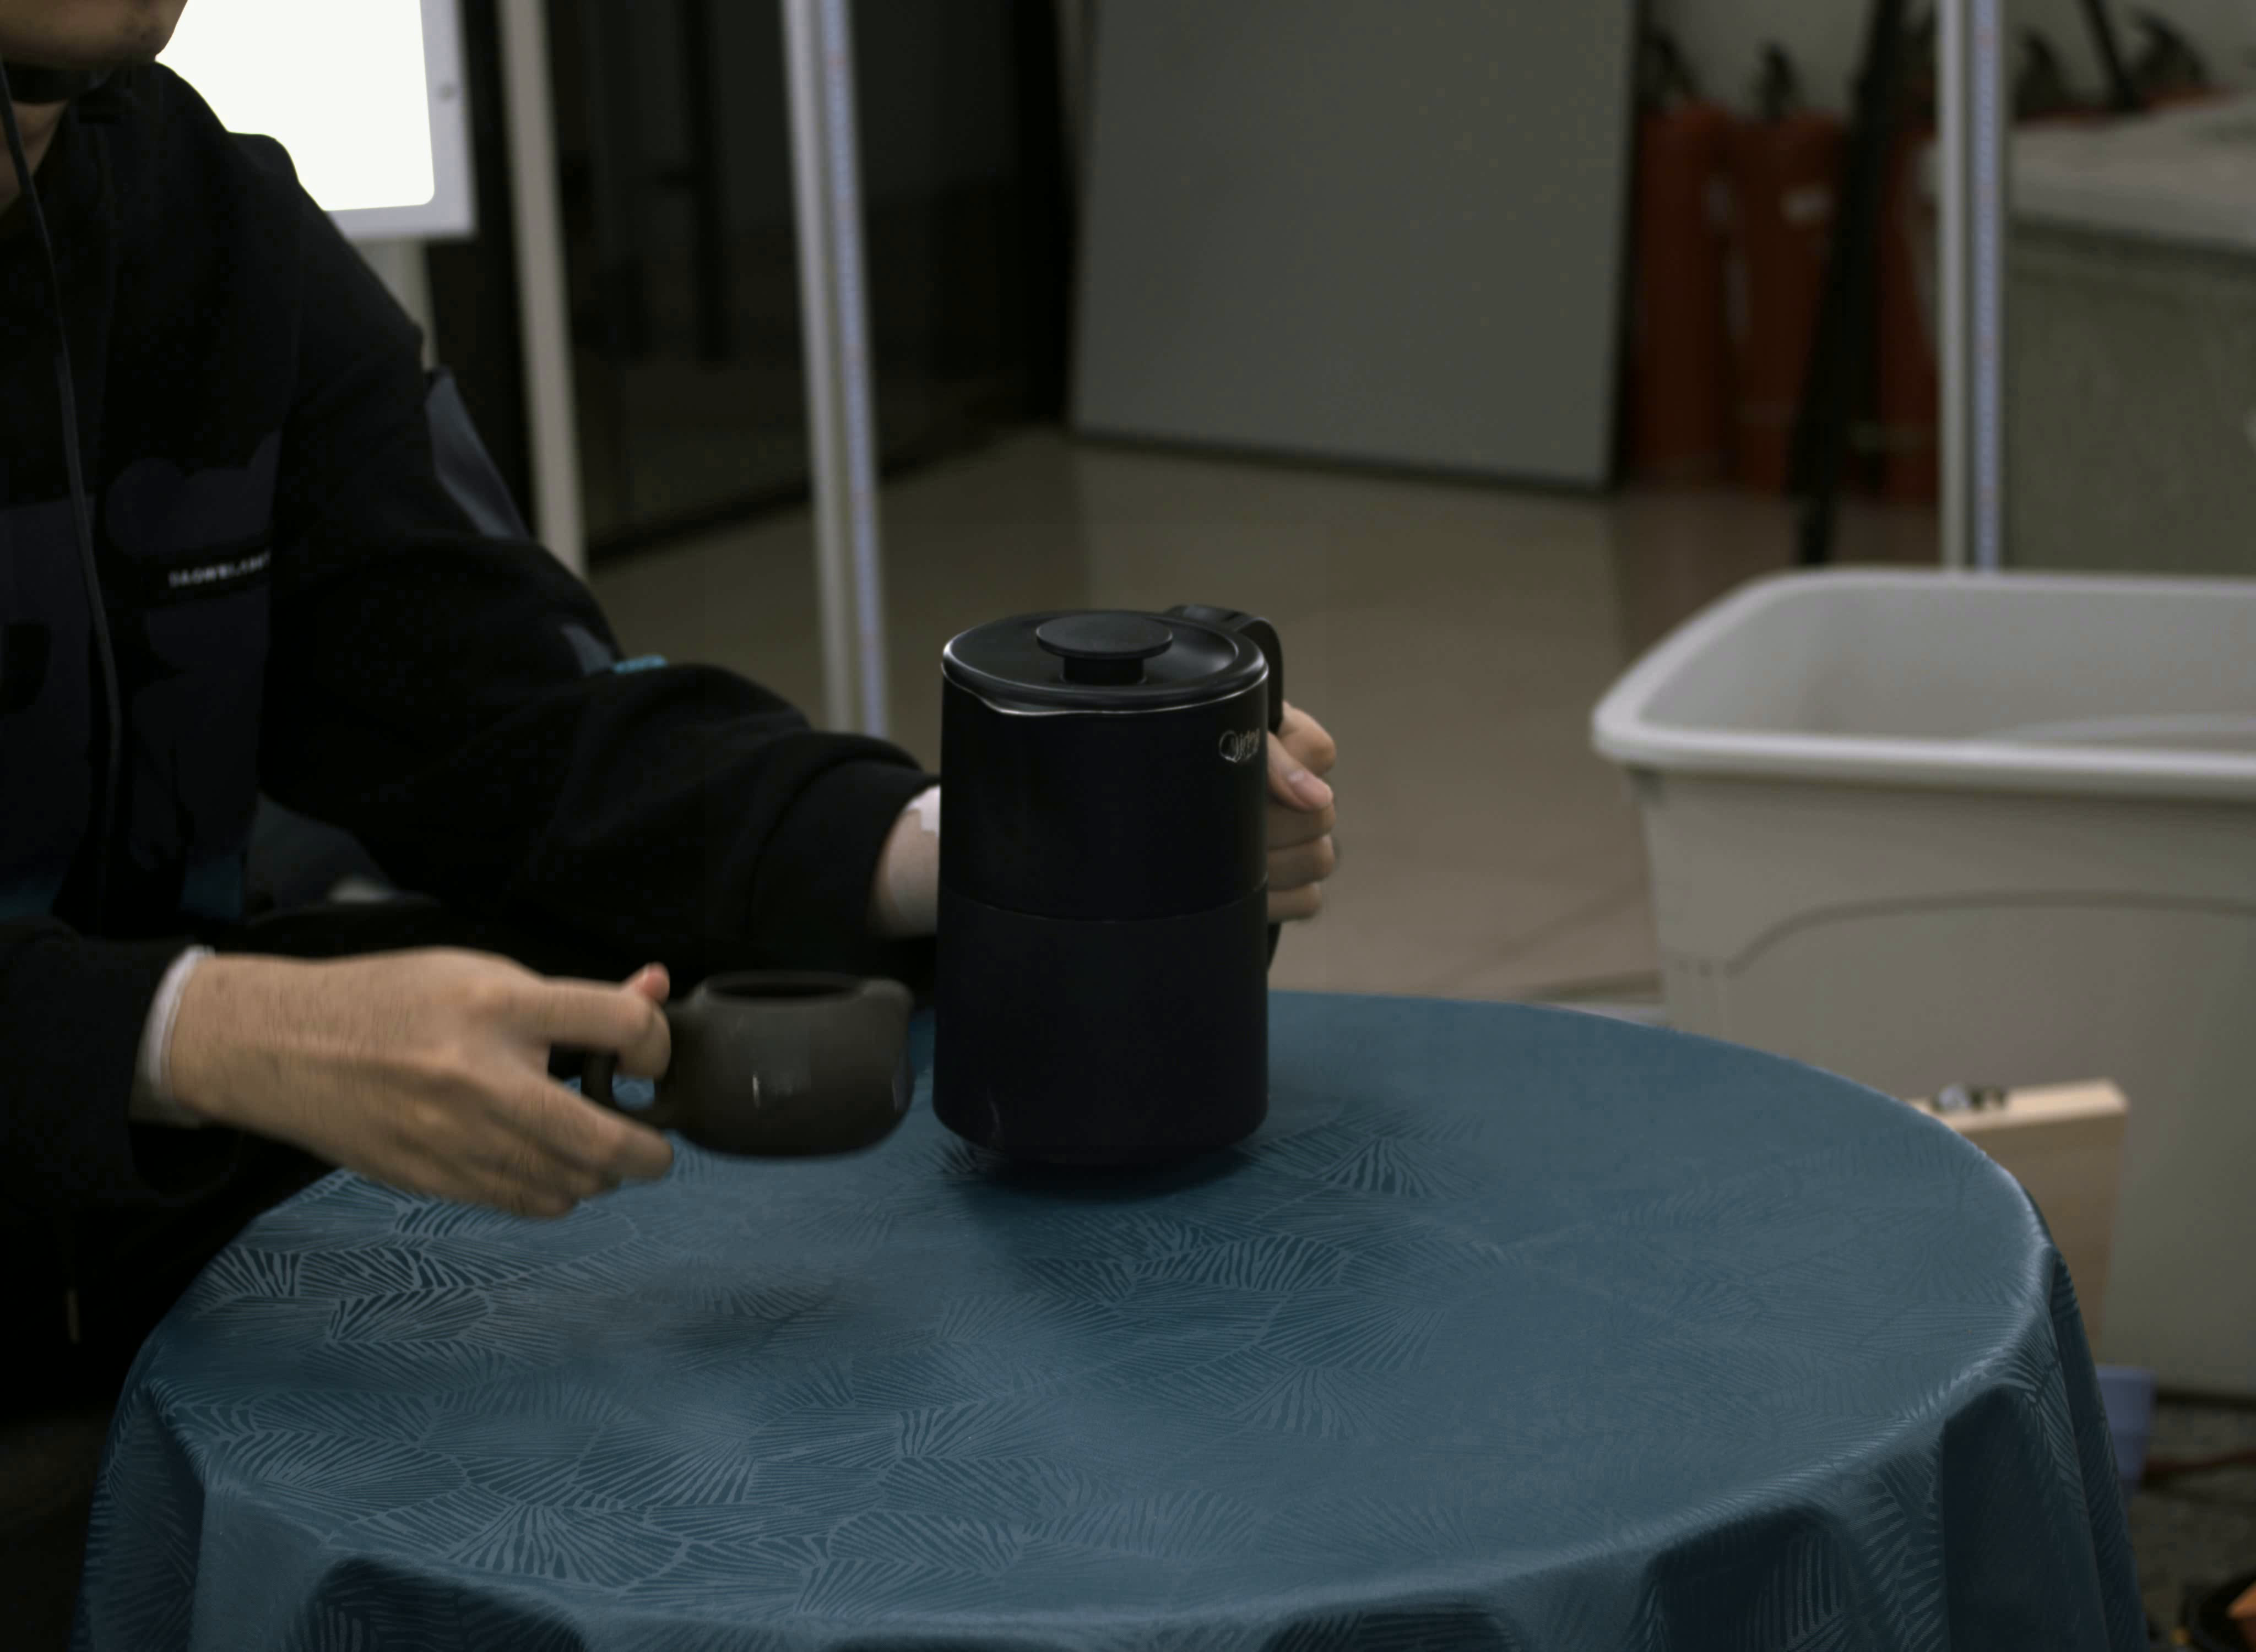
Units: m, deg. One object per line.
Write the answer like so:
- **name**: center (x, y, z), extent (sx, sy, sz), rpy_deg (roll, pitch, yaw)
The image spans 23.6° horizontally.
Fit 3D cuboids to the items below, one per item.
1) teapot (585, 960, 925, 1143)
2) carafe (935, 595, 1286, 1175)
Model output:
- **teapot**: center (-0.115, 0.069, 1.672), extent (0.111, 0.053, 0.084), rpy_deg (0, 5, -25)
- **carafe**: center (0.002, 0.008, 1.803), extent (0.115, 0.175, 0.169), rpy_deg (7, 20, 27)
